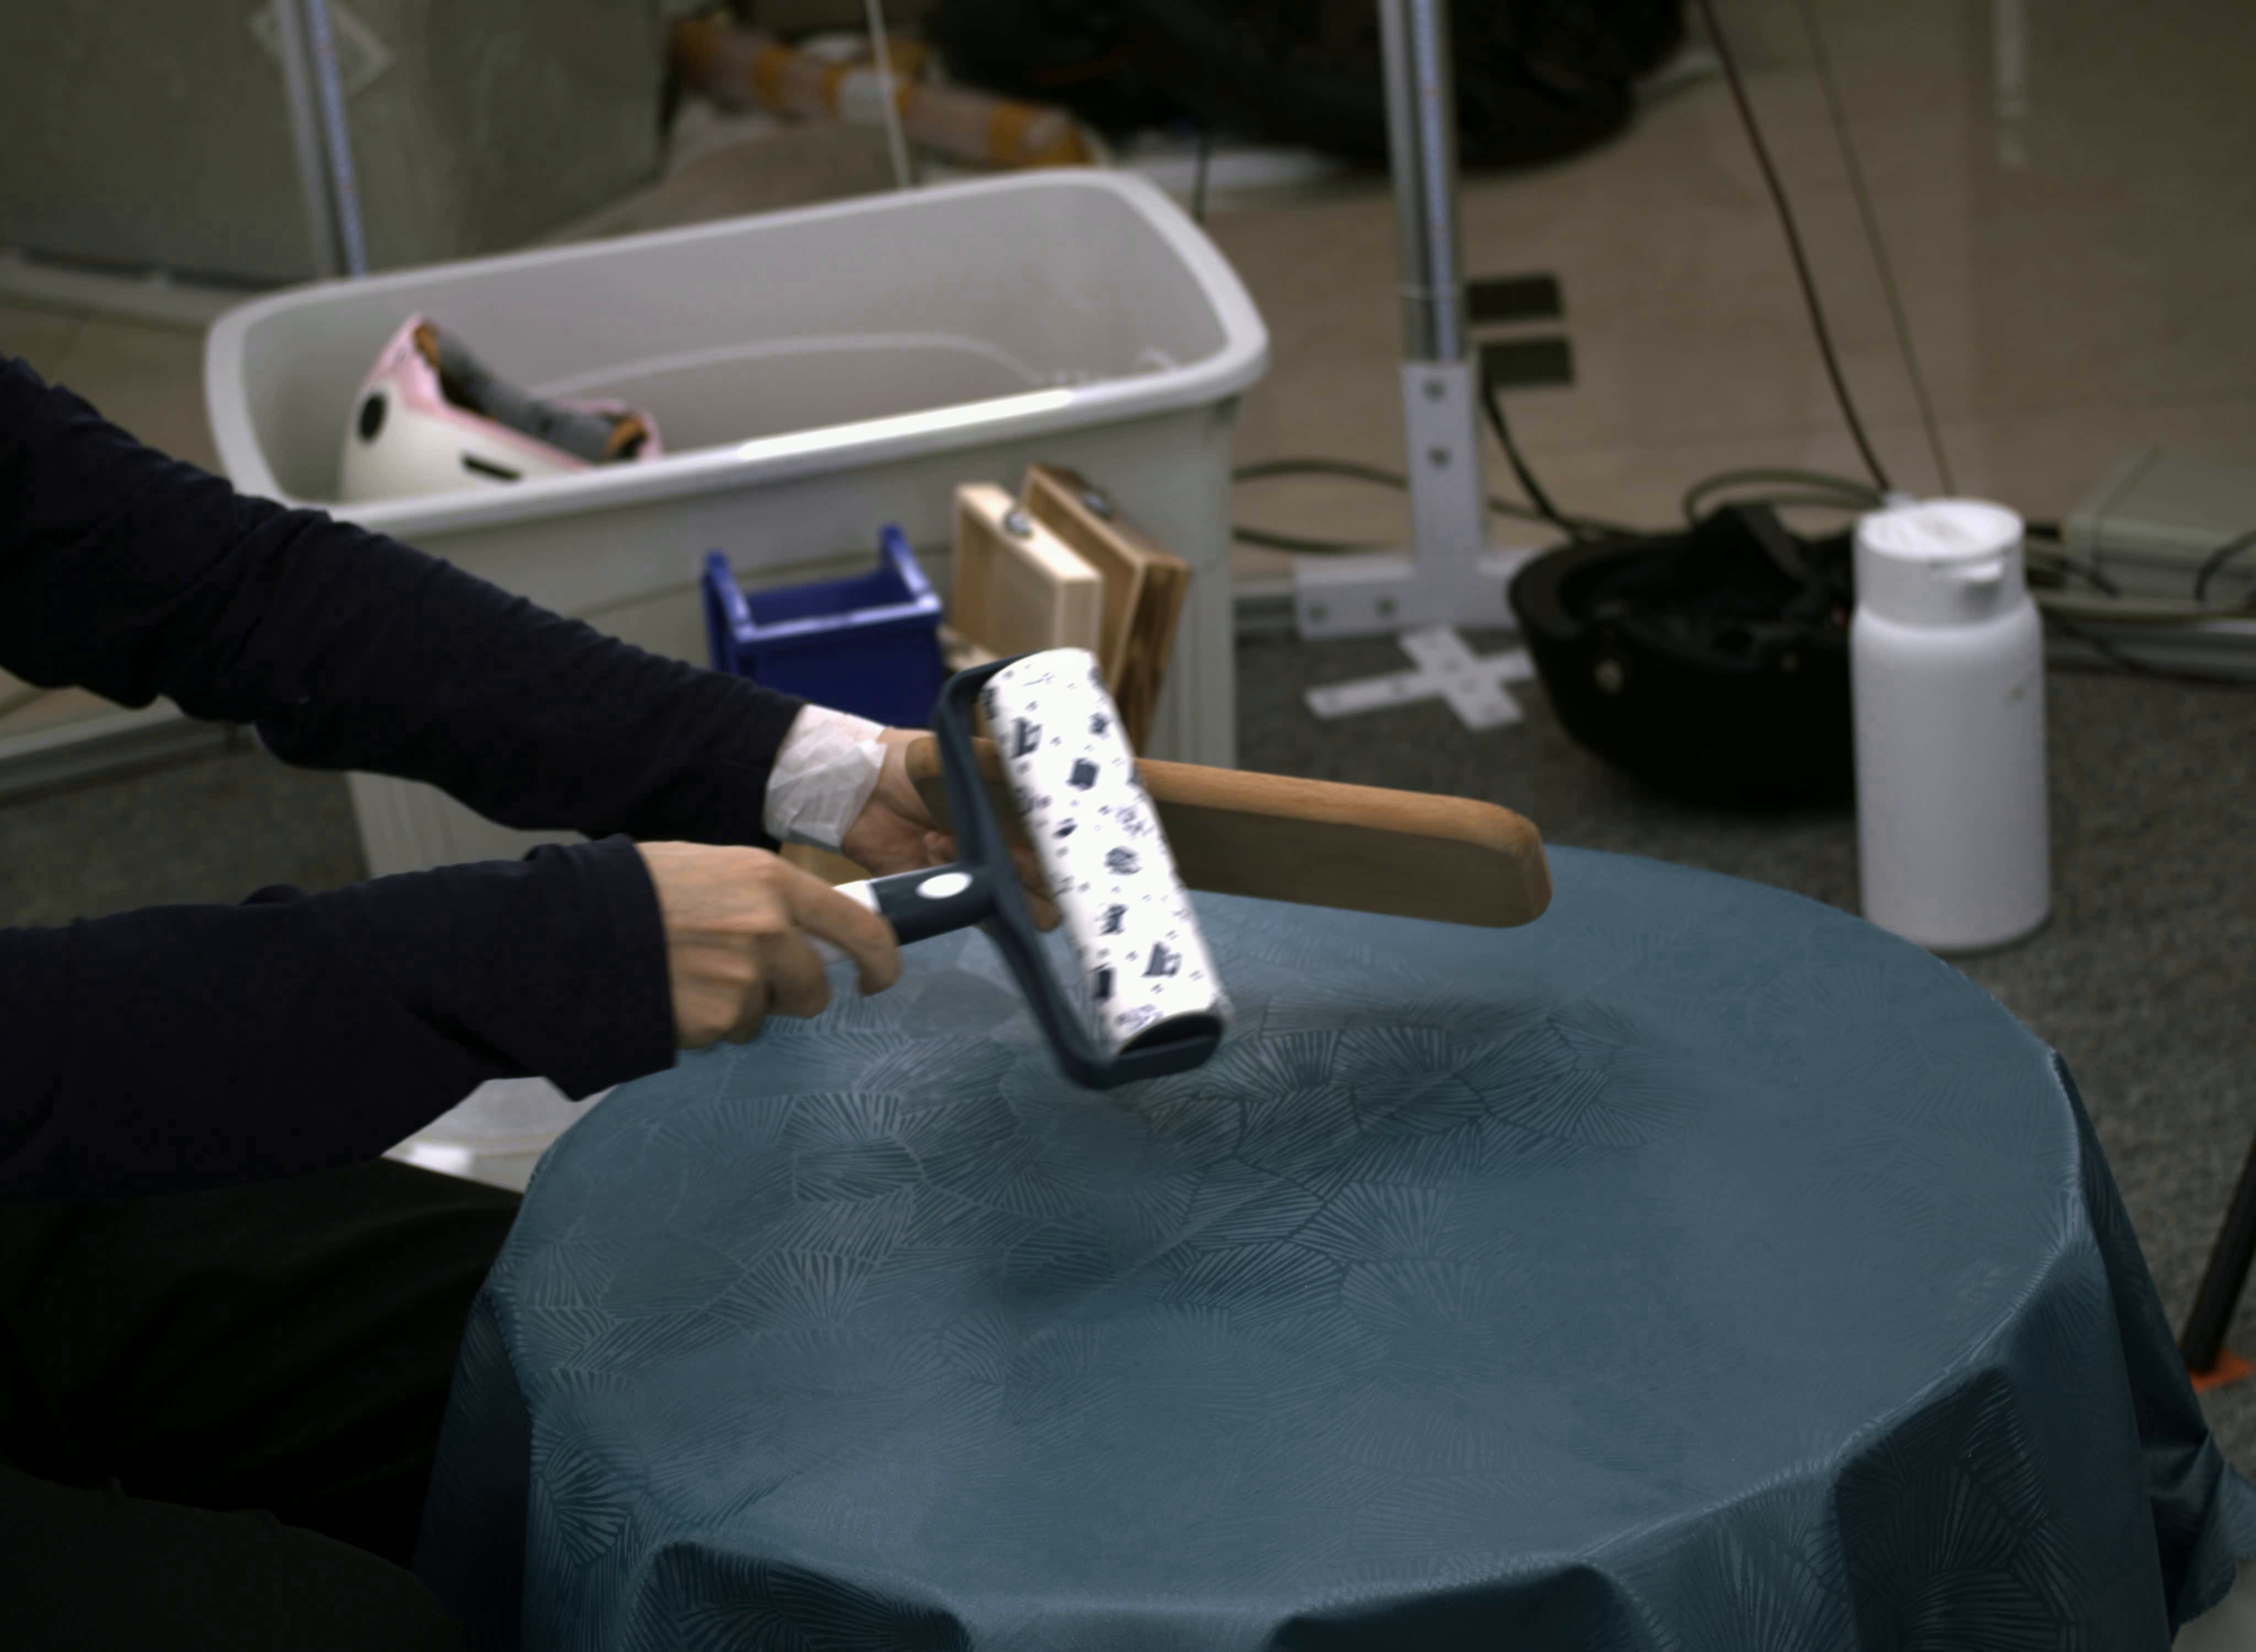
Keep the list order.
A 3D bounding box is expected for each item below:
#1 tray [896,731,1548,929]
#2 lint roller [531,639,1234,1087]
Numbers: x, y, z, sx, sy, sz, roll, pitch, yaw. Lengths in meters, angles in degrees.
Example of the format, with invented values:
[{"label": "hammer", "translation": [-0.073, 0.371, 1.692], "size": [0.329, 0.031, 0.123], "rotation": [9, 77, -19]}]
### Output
[{"label": "tray", "translation": [0.036, 0.003, 2.212], "size": [0.250, 0.132, 0.022], "rotation": [6, 70, 13]}, {"label": "lint roller", "translation": [-0.100, 0.036, 2.095], "size": [0.246, 0.051, 0.174], "rotation": [-15, 67, -14]}]
